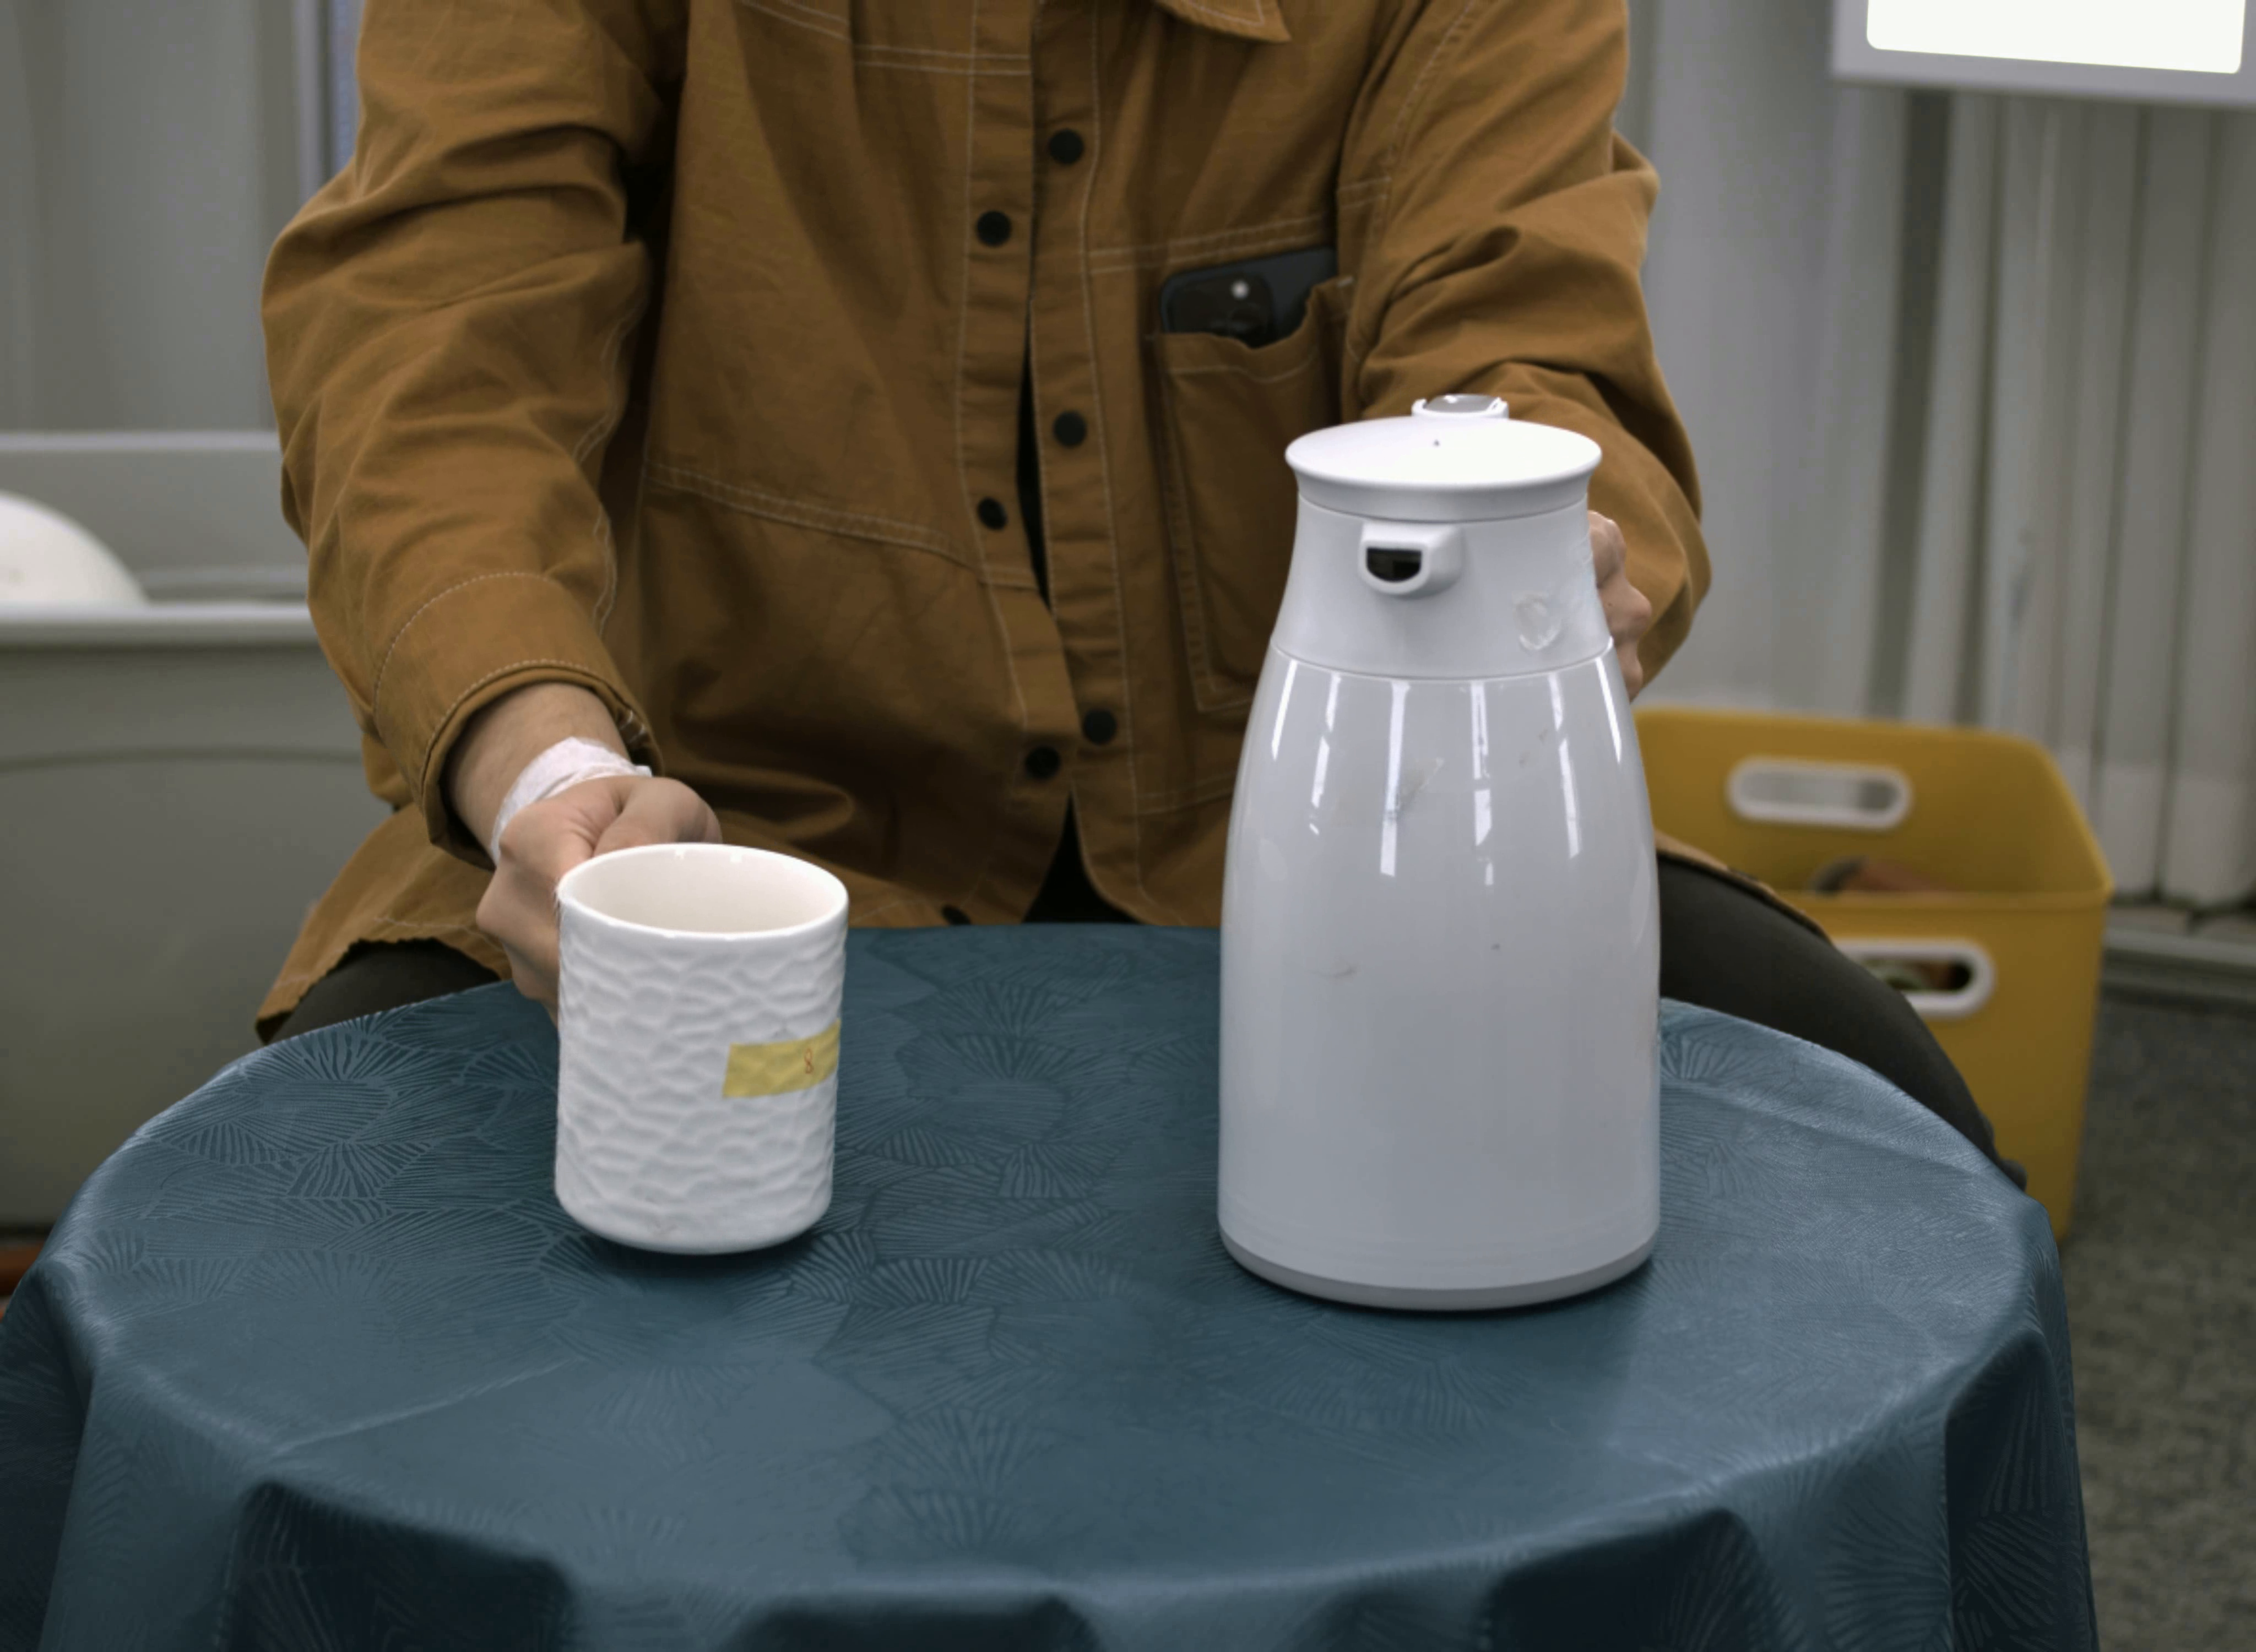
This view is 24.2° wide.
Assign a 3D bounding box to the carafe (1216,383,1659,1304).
[{"bbox_3d":[0.094,-0.004,1.560,0.131,0.250,0.167,3,16,14],"label":"carafe"}]

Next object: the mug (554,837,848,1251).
[{"bbox_3d":[-0.135,0.060,1.576,0.085,0.103,0.117,-6,20,-27],"label":"mug"}]
